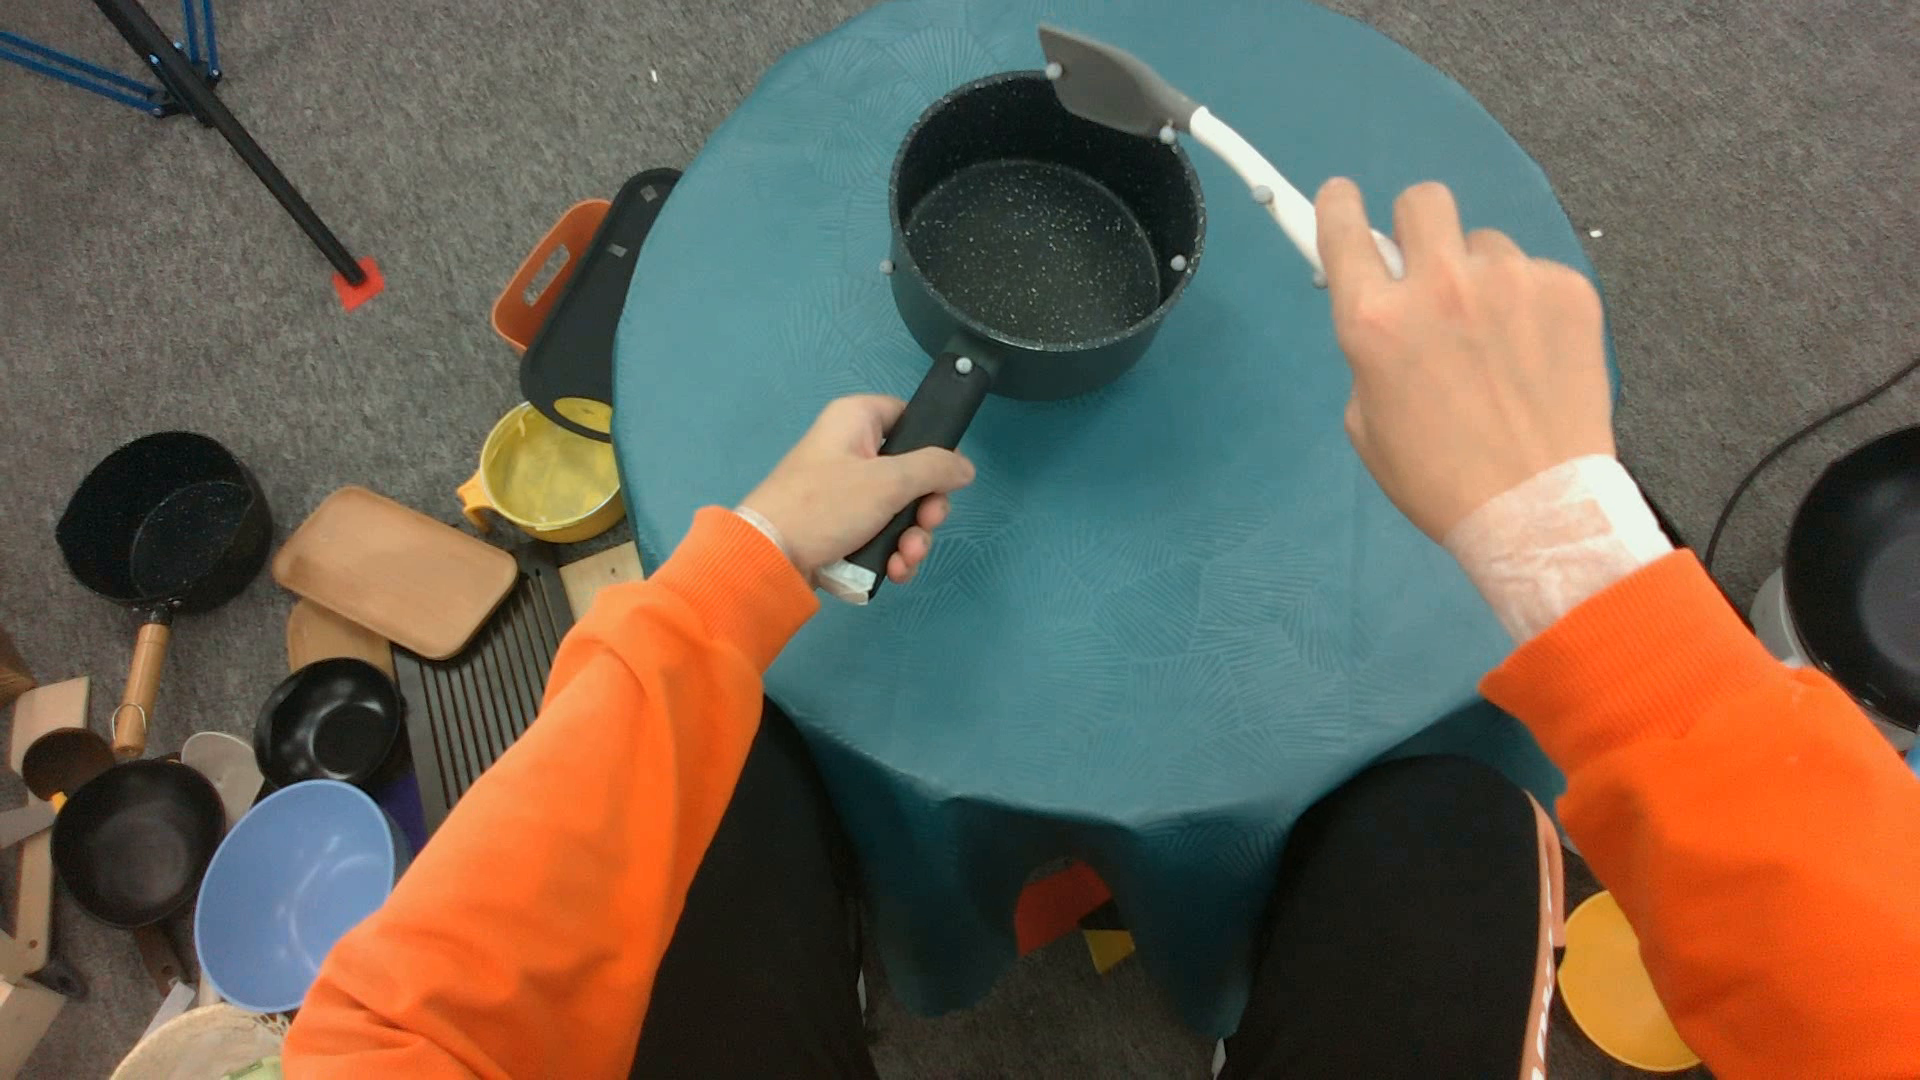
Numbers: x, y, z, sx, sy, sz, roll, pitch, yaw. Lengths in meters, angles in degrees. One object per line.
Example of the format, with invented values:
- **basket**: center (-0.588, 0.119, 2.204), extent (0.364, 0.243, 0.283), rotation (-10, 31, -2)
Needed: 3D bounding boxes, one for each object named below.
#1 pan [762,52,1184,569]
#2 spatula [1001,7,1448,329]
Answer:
- **pan**: center (-0.005, -0.113, 0.732), extent (0.172, 0.086, 0.330), rotation (28, 67, 4)
- **spatula**: center (0.104, -0.175, 0.612), extent (0.032, 0.058, 0.288), rotation (-39, 48, -1)
